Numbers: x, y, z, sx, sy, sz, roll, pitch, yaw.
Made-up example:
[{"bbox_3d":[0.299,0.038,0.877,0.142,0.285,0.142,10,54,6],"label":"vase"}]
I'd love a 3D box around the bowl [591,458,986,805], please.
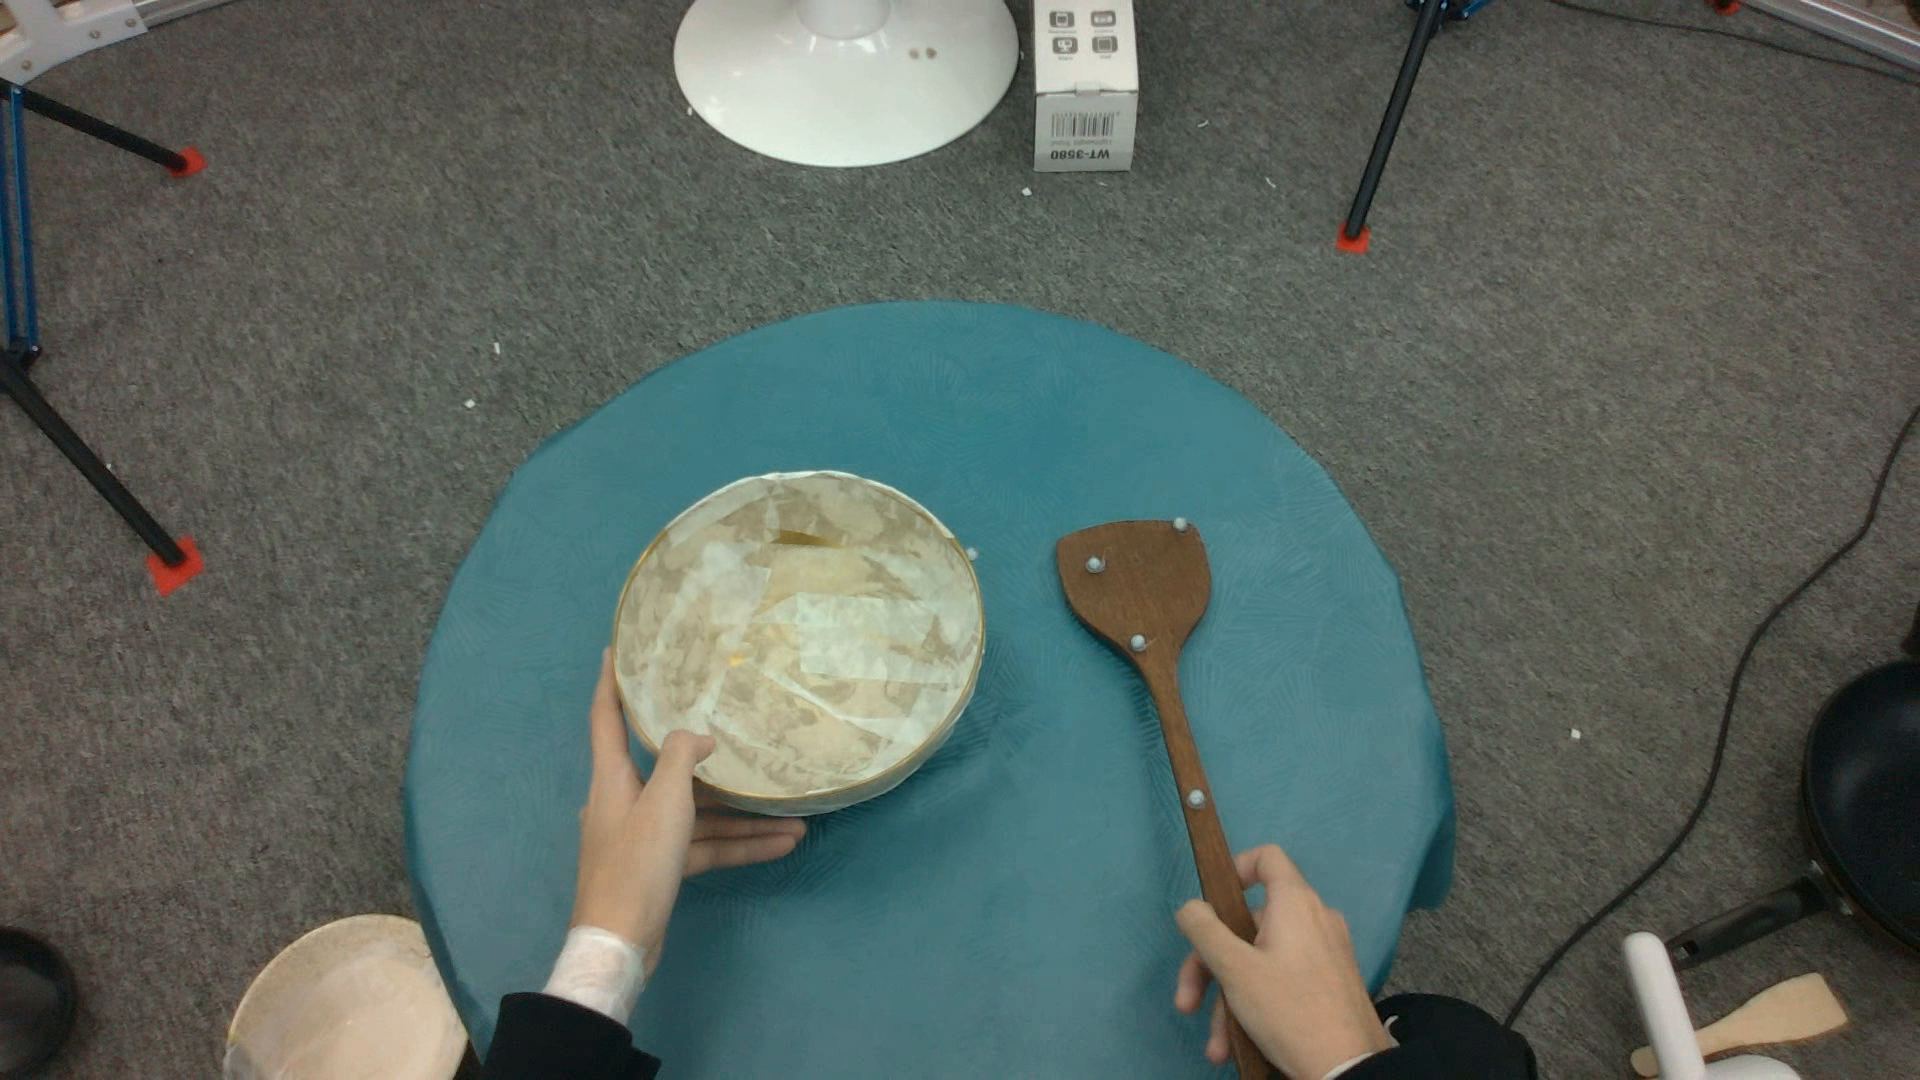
[{"bbox_3d":[-0.093,0.064,0.771,0.215,0.094,0.215,1,58,-2],"label":"bowl"}]

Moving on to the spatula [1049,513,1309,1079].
[{"bbox_3d":[0.123,0.123,0.748,0.096,0.016,0.387,-6,46,-3],"label":"spatula"}]
